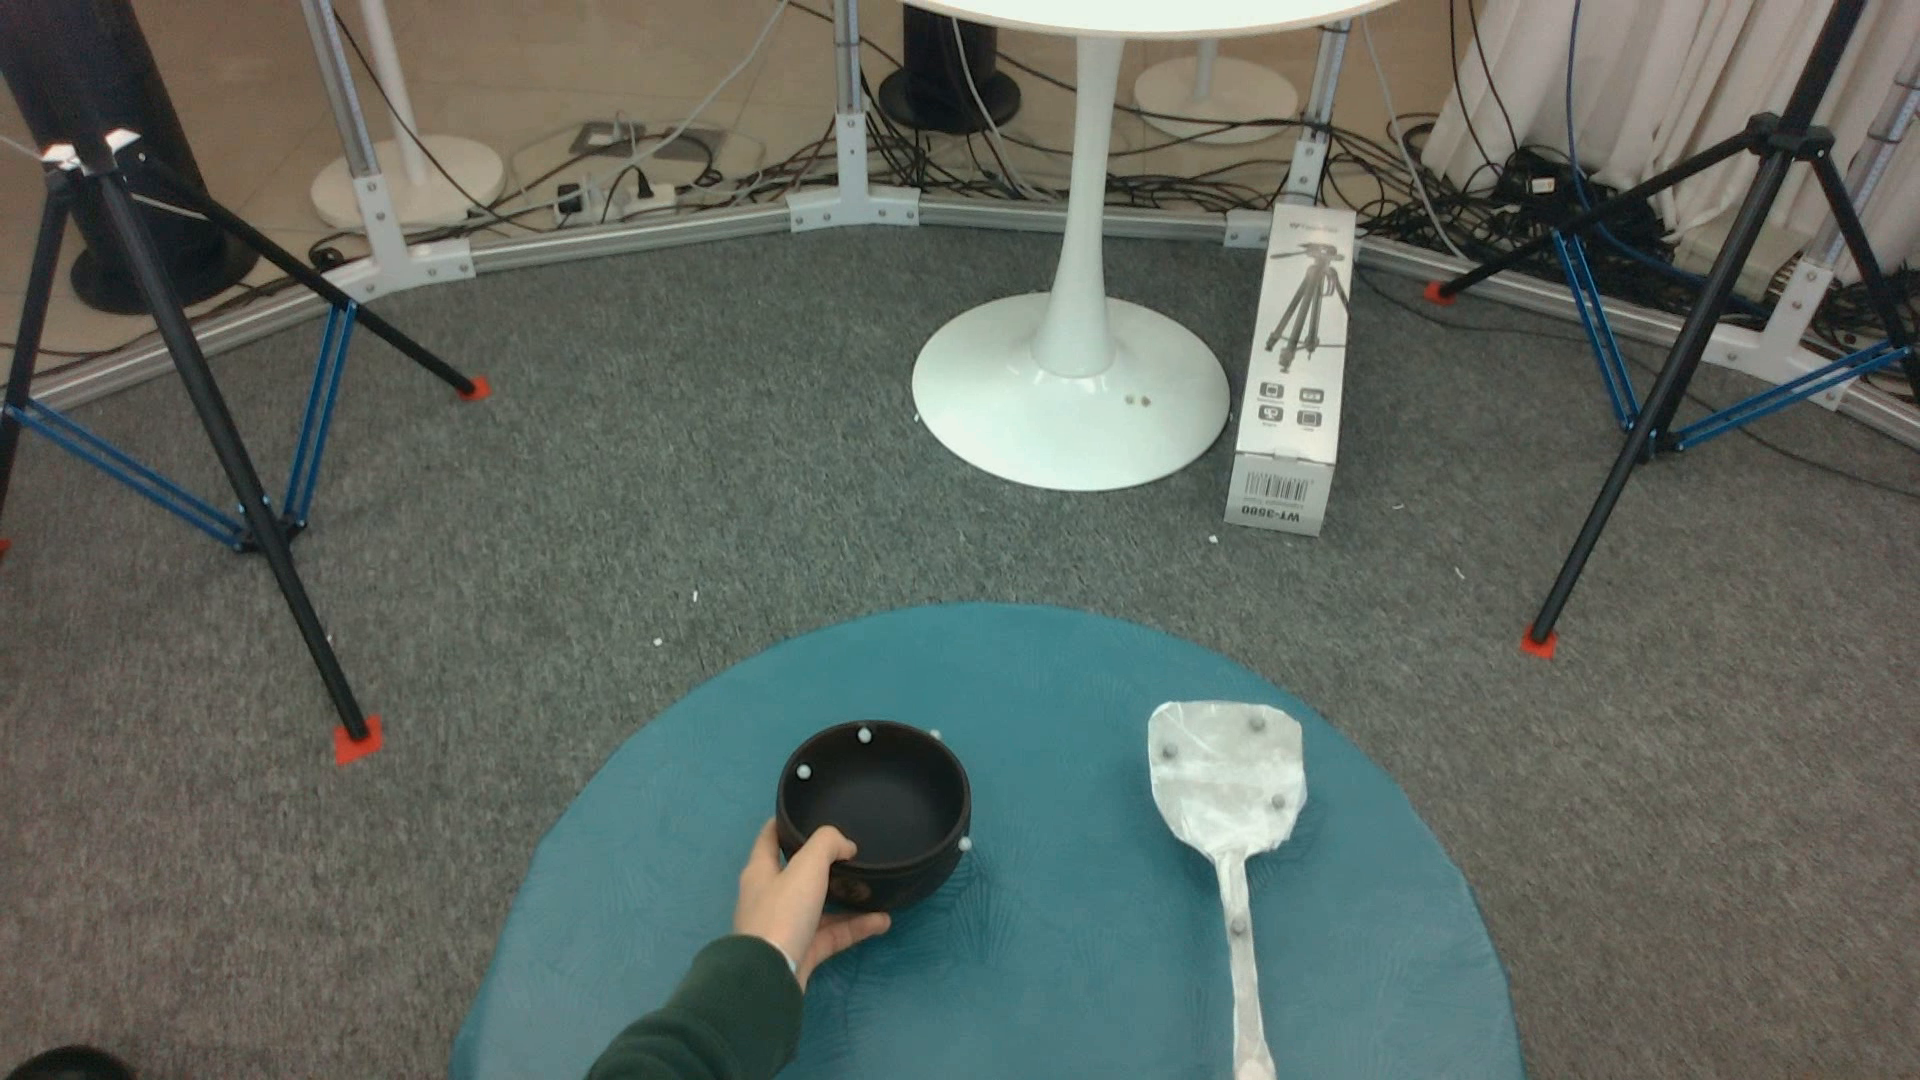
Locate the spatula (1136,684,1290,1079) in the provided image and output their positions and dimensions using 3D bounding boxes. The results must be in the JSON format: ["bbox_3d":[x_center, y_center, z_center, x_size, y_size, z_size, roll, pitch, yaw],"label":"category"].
[{"bbox_3d":[0.147,0.223,0.760,0.098,0.044,0.366,5,38,2],"label":"spatula"}]

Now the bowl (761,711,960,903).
[{"bbox_3d":[-0.059,0.167,0.829,0.118,0.069,0.118,2,39,-1],"label":"bowl"}]
